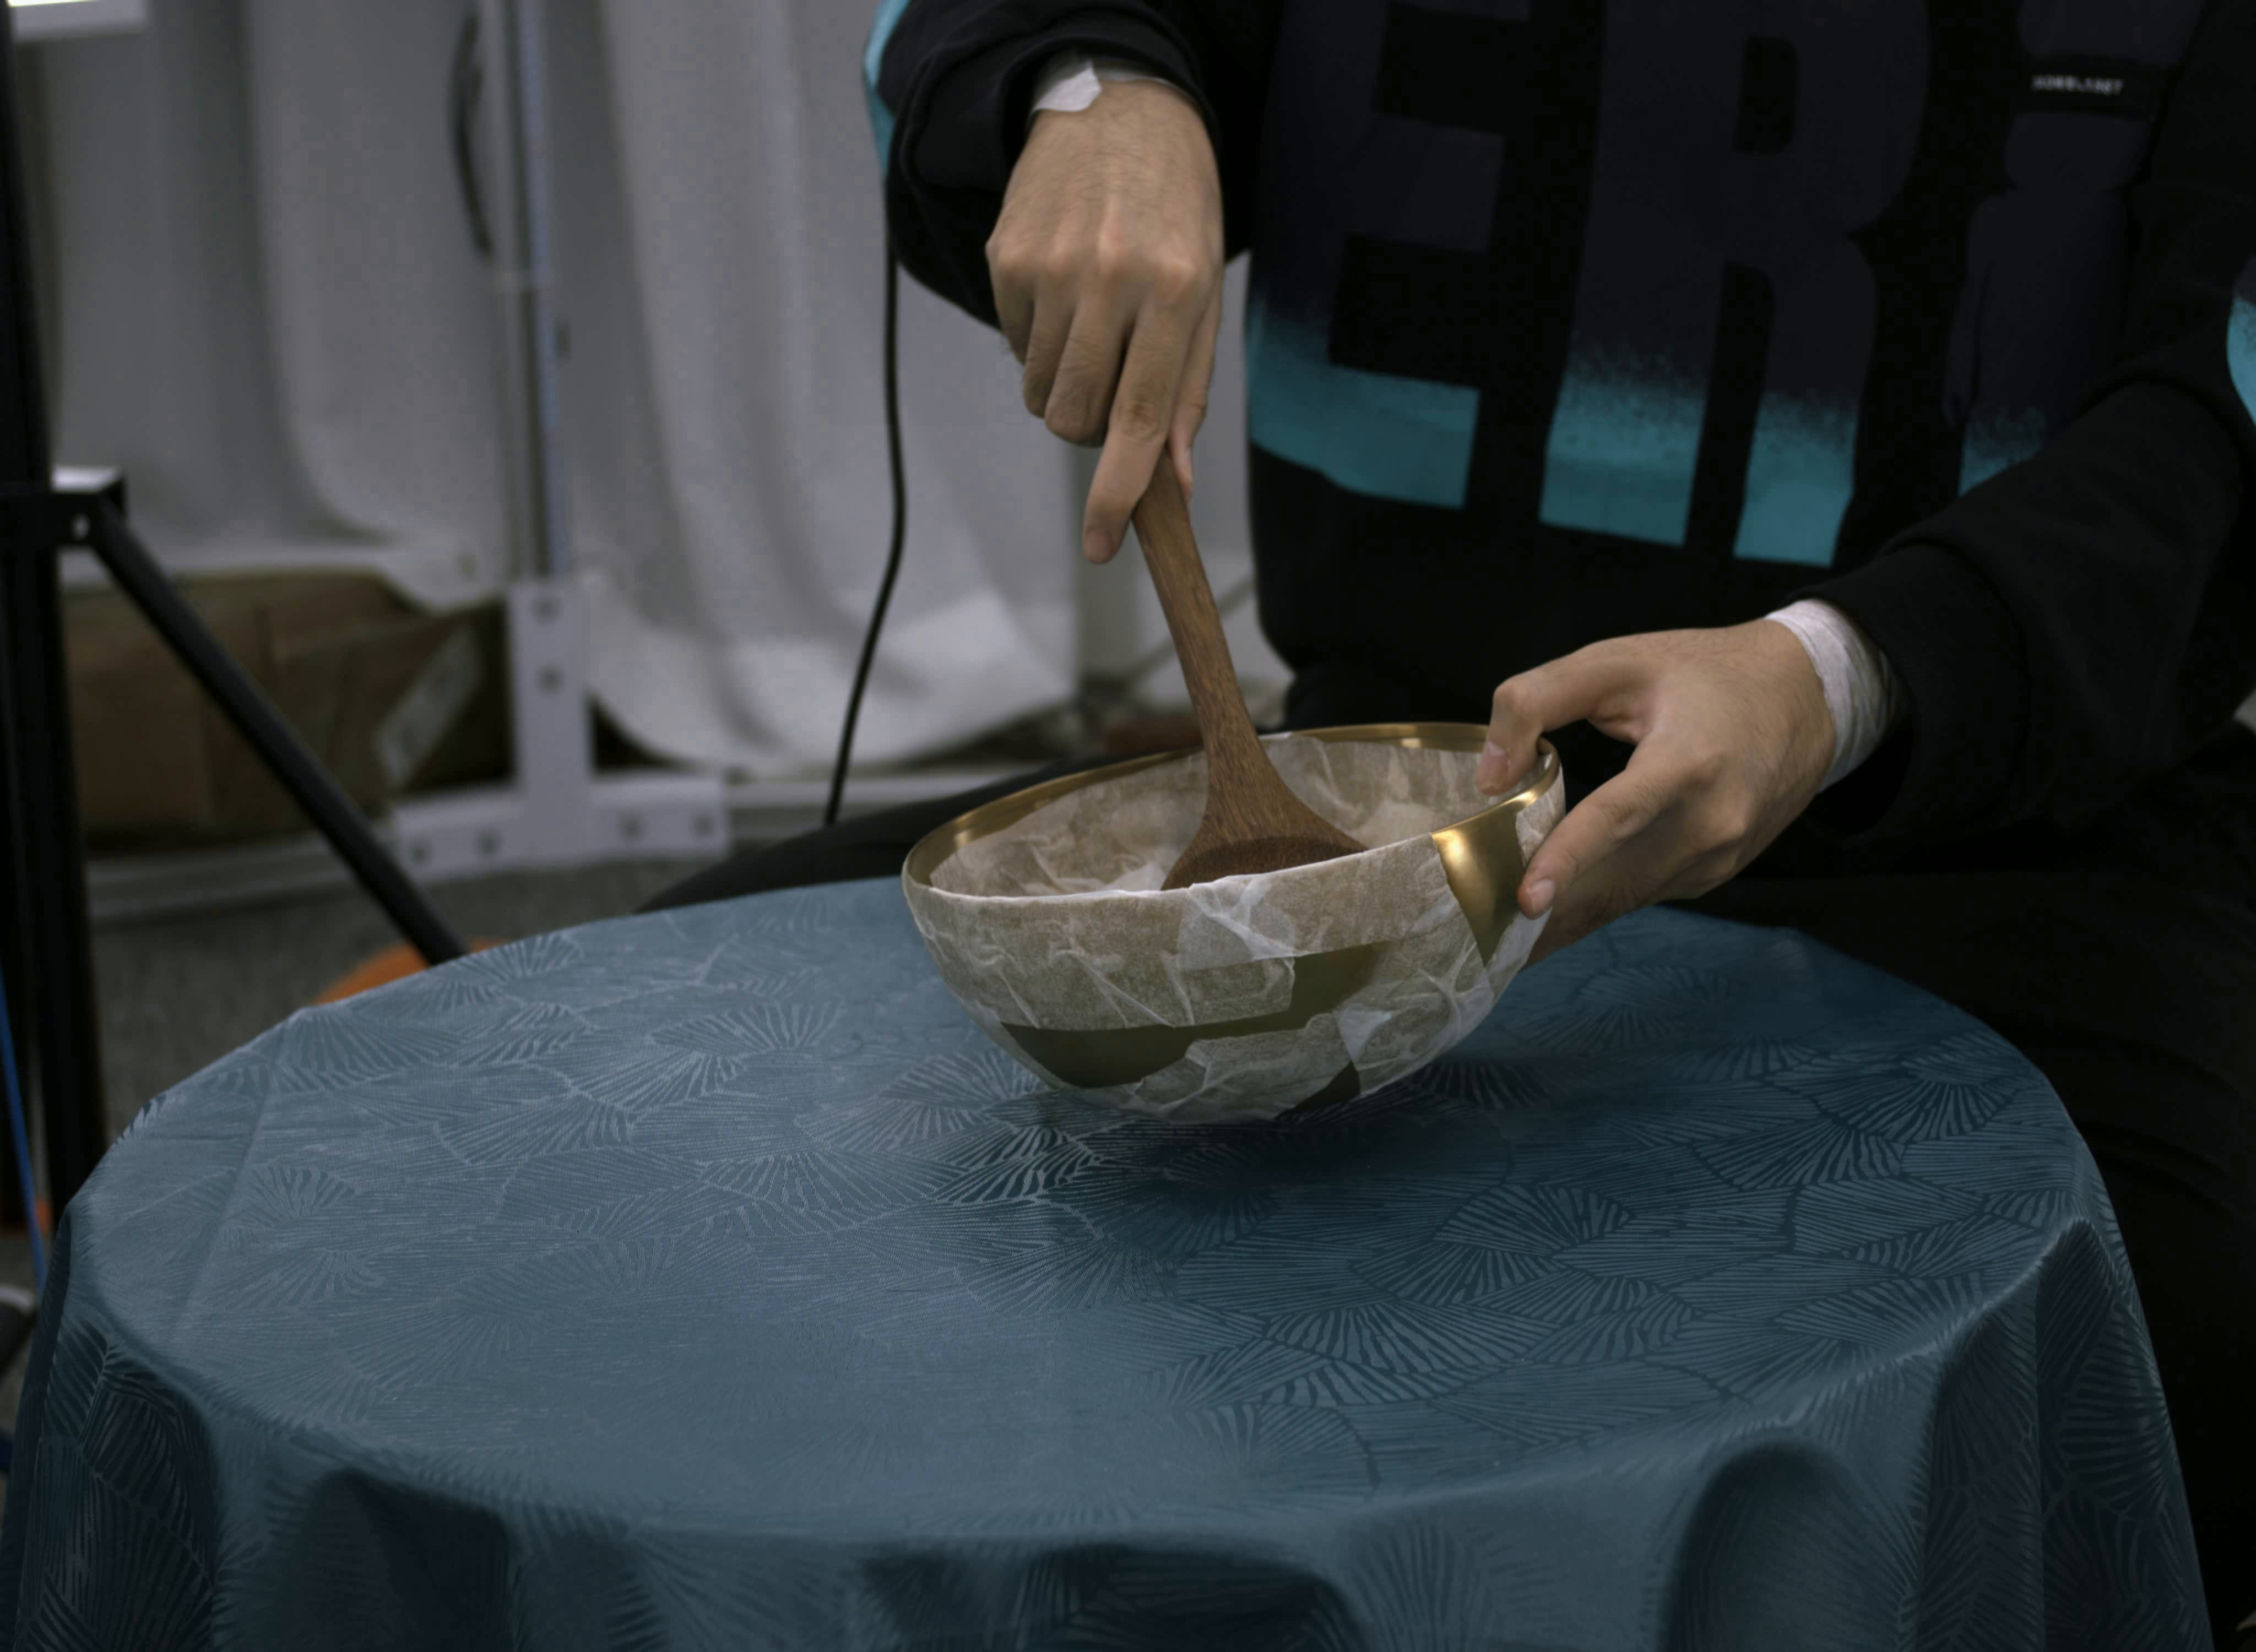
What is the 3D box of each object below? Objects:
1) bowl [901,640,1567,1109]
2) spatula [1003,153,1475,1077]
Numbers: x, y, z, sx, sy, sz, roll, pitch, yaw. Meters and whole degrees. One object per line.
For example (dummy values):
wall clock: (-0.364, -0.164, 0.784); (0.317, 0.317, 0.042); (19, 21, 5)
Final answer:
bowl: (0.042, 0.026, 1.600); (0.214, 0.094, 0.216); (-15, 19, 4)
spatula: (0.016, -0.077, 1.676); (0.094, 0.016, 0.392); (-6, 52, -15)
